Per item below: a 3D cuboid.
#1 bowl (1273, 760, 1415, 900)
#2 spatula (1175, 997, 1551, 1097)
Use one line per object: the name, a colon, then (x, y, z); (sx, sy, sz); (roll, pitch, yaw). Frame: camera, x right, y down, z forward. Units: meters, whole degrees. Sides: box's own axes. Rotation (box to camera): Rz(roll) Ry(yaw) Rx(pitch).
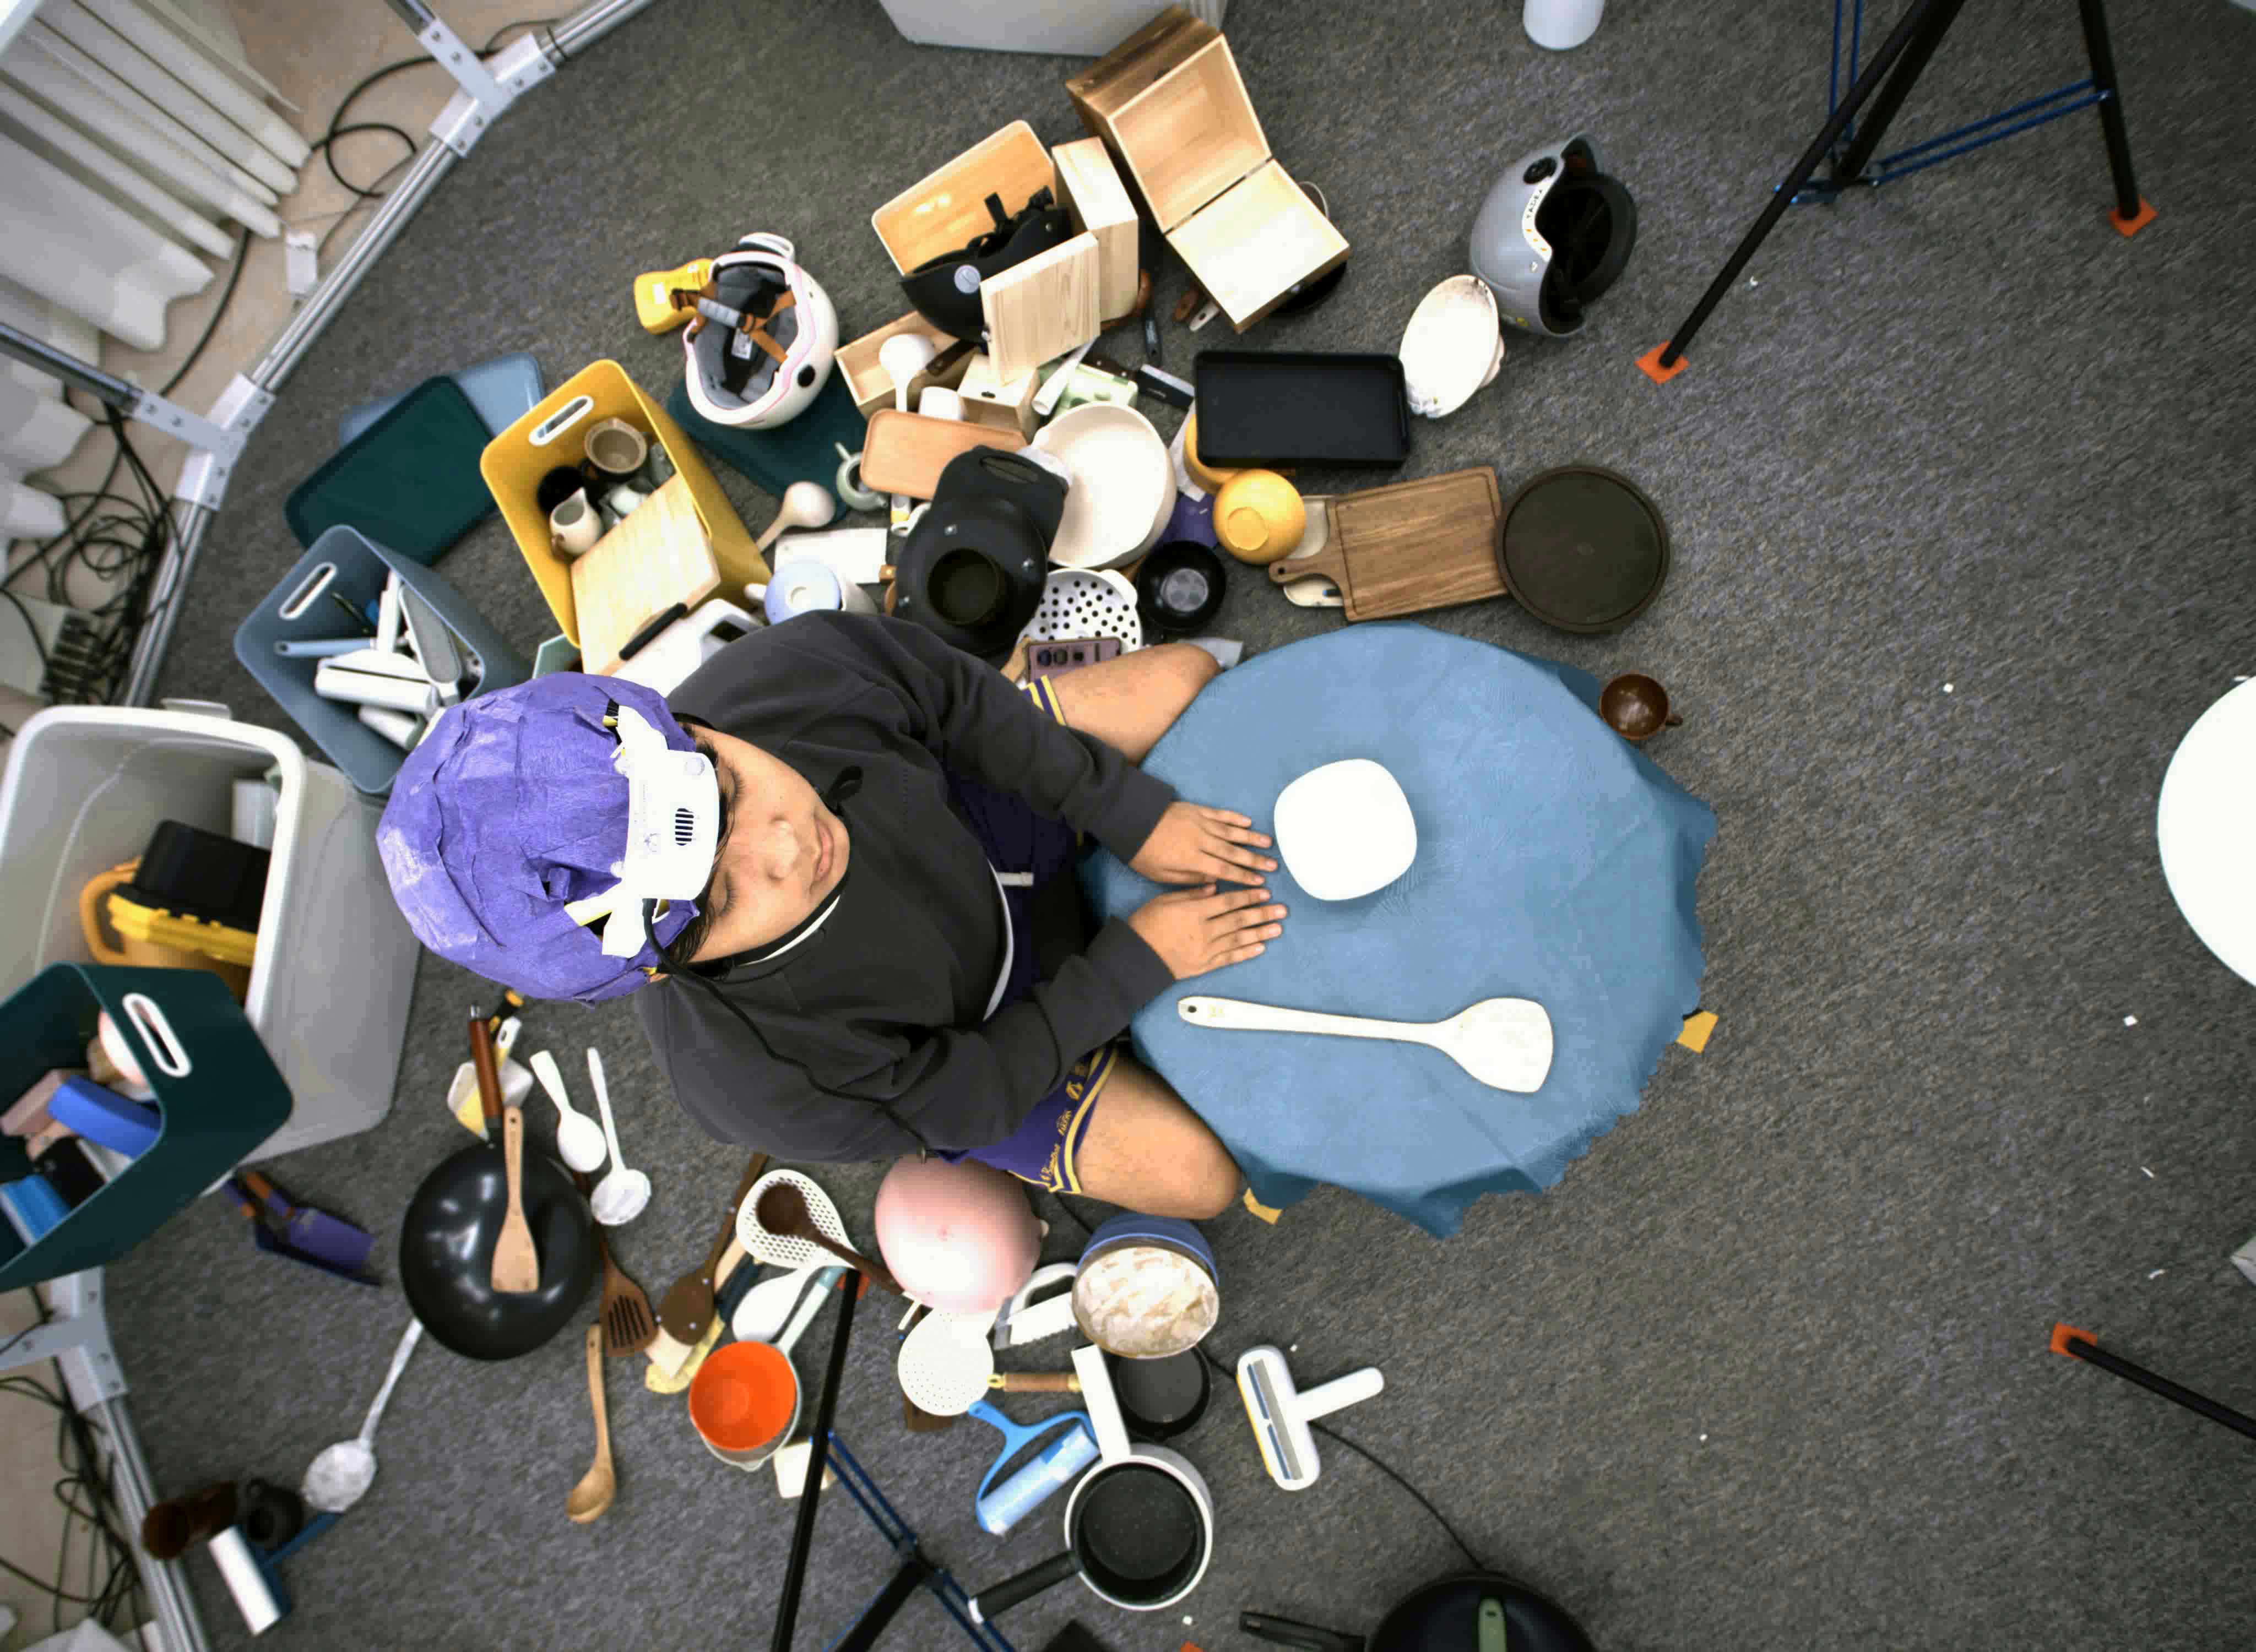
bowl: (0.225, 0.005, 1.444); (0.152, 0.059, 0.150); (-1, 86, 9)
spatula: (0.241, 0.215, 1.448); (0.392, 0.018, 0.095); (4, 86, 10)
